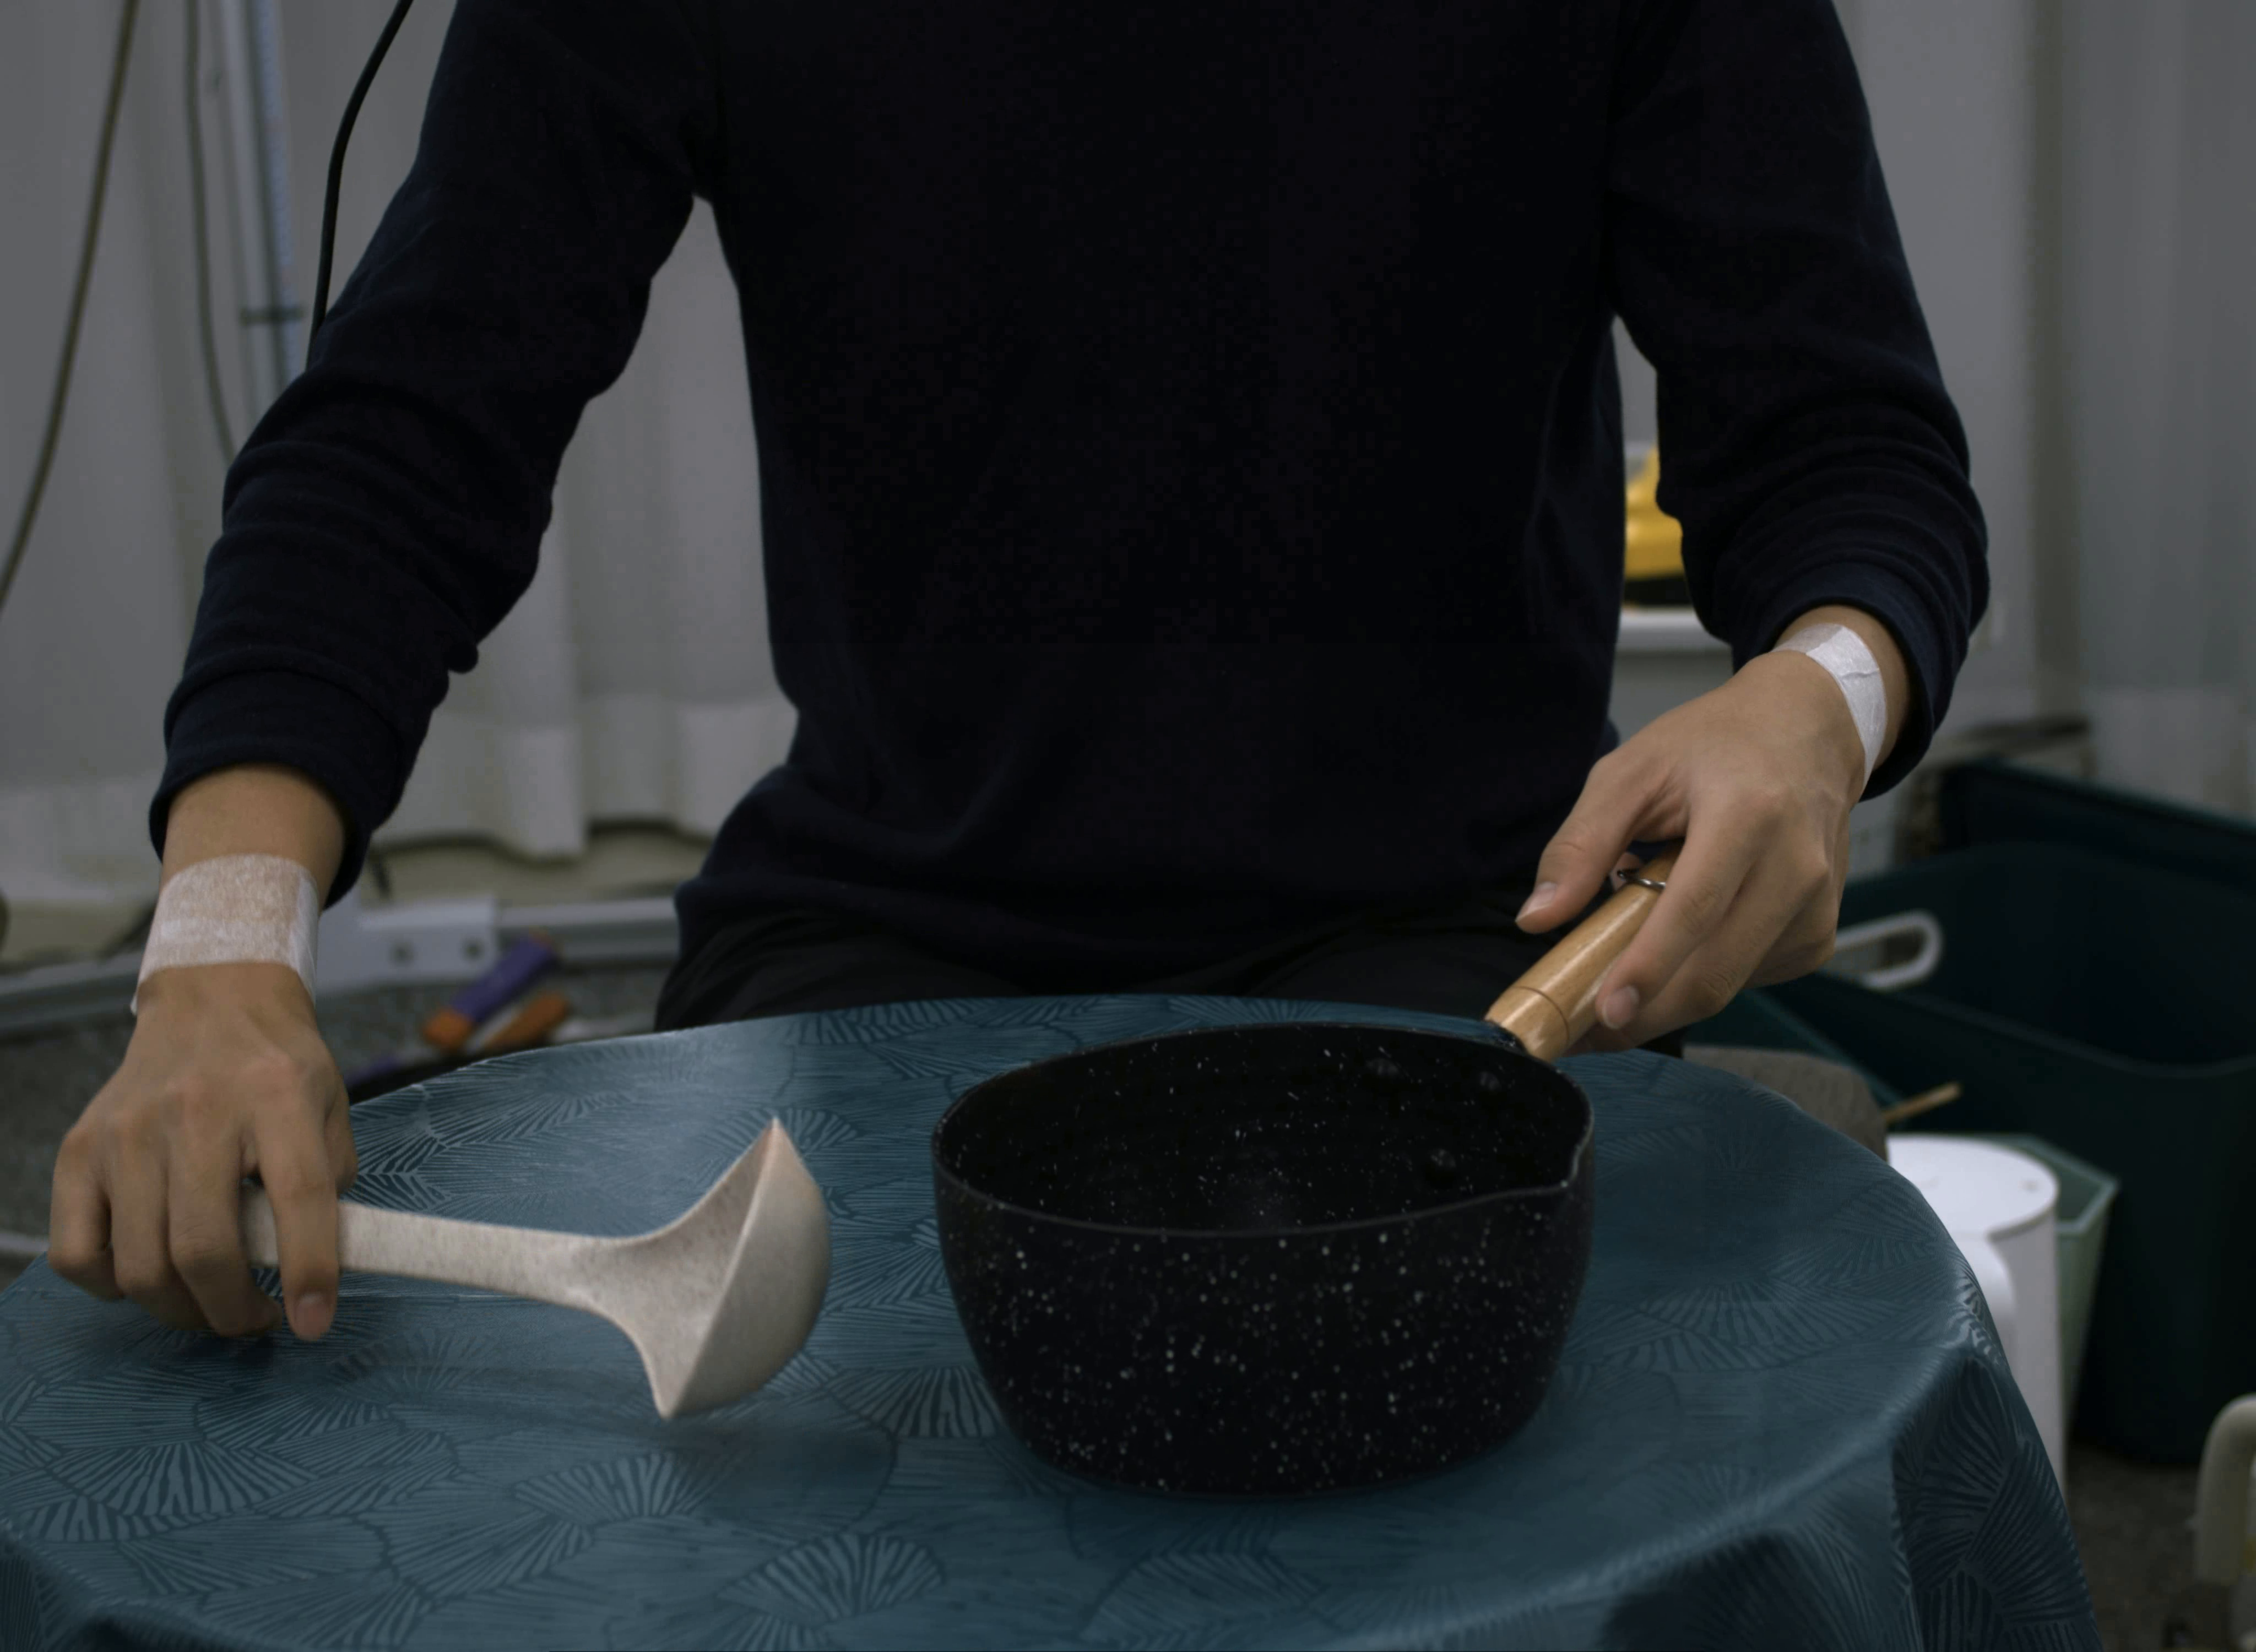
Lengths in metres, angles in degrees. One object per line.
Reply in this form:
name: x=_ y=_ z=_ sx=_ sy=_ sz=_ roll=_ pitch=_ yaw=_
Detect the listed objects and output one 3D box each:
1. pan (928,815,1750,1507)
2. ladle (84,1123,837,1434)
pan: x=0.084 y=0.091 z=1.578 sx=0.208 sy=0.108 sz=0.343 roll=6 pitch=19 yaw=35
ladle: x=-0.205 y=0.118 z=1.563 sx=0.275 sy=0.090 sz=0.068 roll=4 pitch=-19 yaw=28
